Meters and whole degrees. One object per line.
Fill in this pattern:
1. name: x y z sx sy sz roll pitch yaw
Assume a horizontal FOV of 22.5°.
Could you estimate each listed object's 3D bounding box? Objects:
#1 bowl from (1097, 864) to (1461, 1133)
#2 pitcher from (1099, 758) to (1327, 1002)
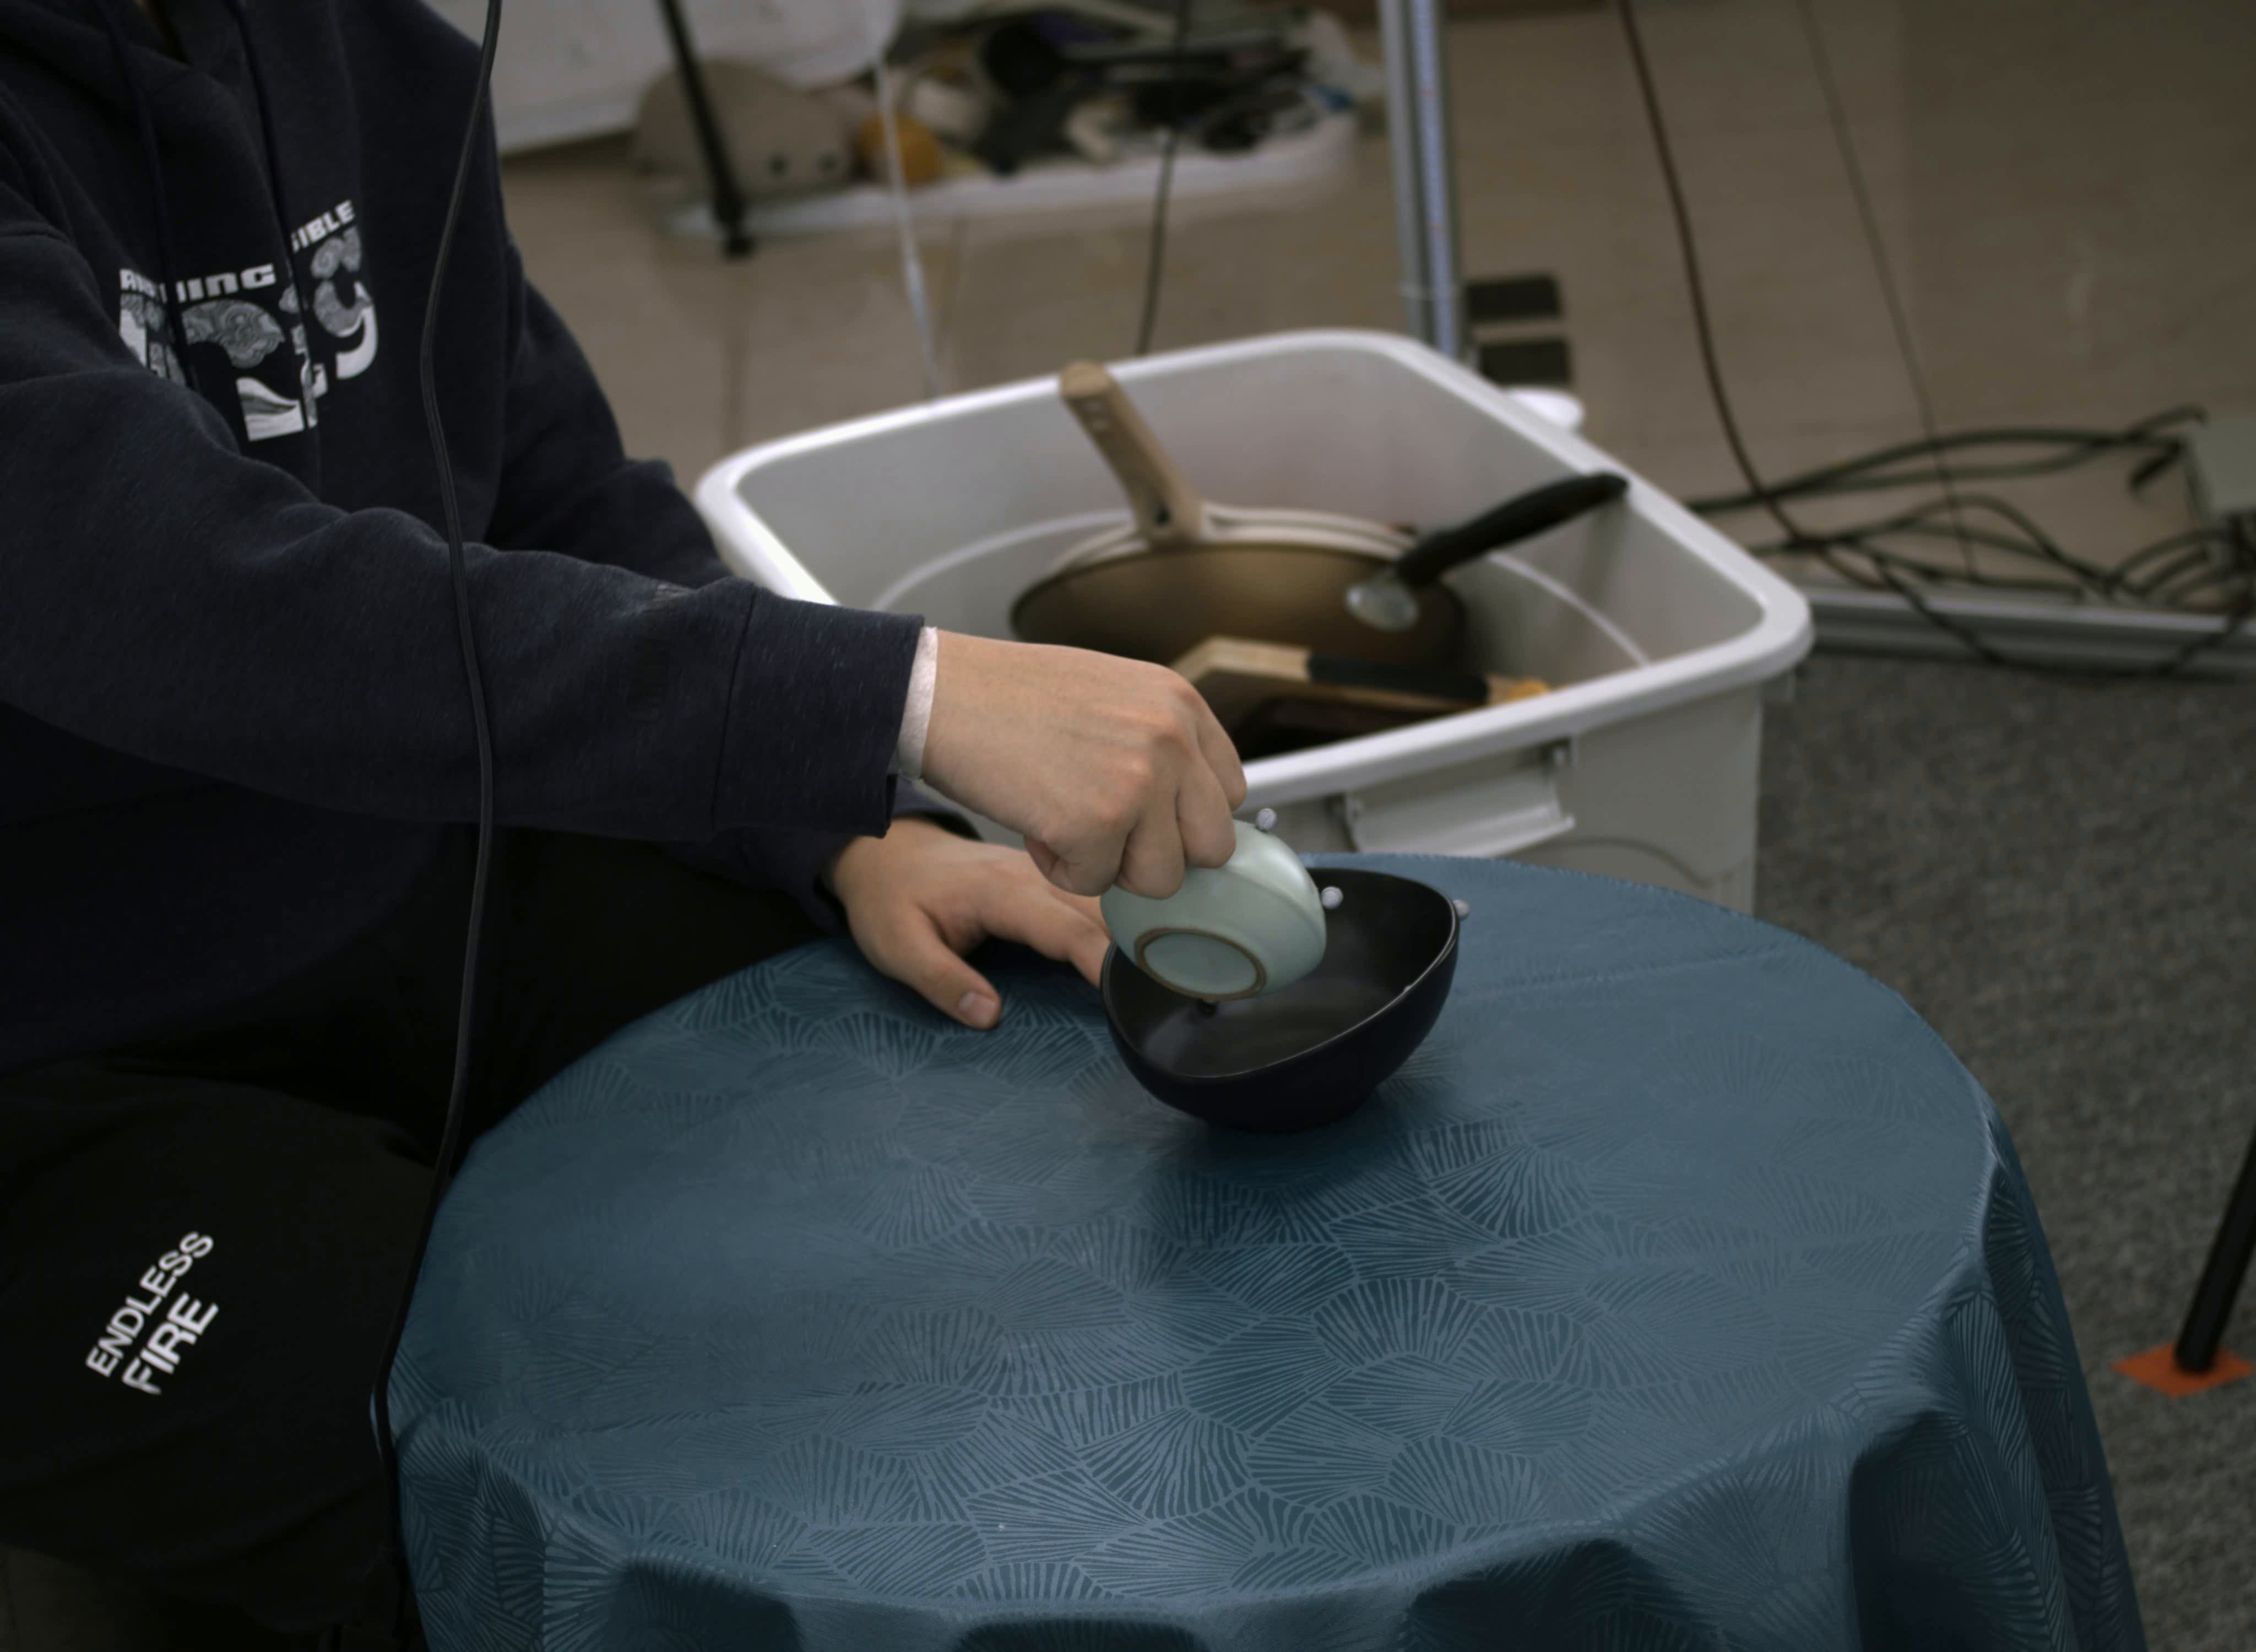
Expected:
1. bowl: 0.061 0.075 2.198 0.137 0.068 0.168 3 27 22
2. pitcher: 0.030 0.022 2.097 0.086 0.110 0.059 2 59 22
